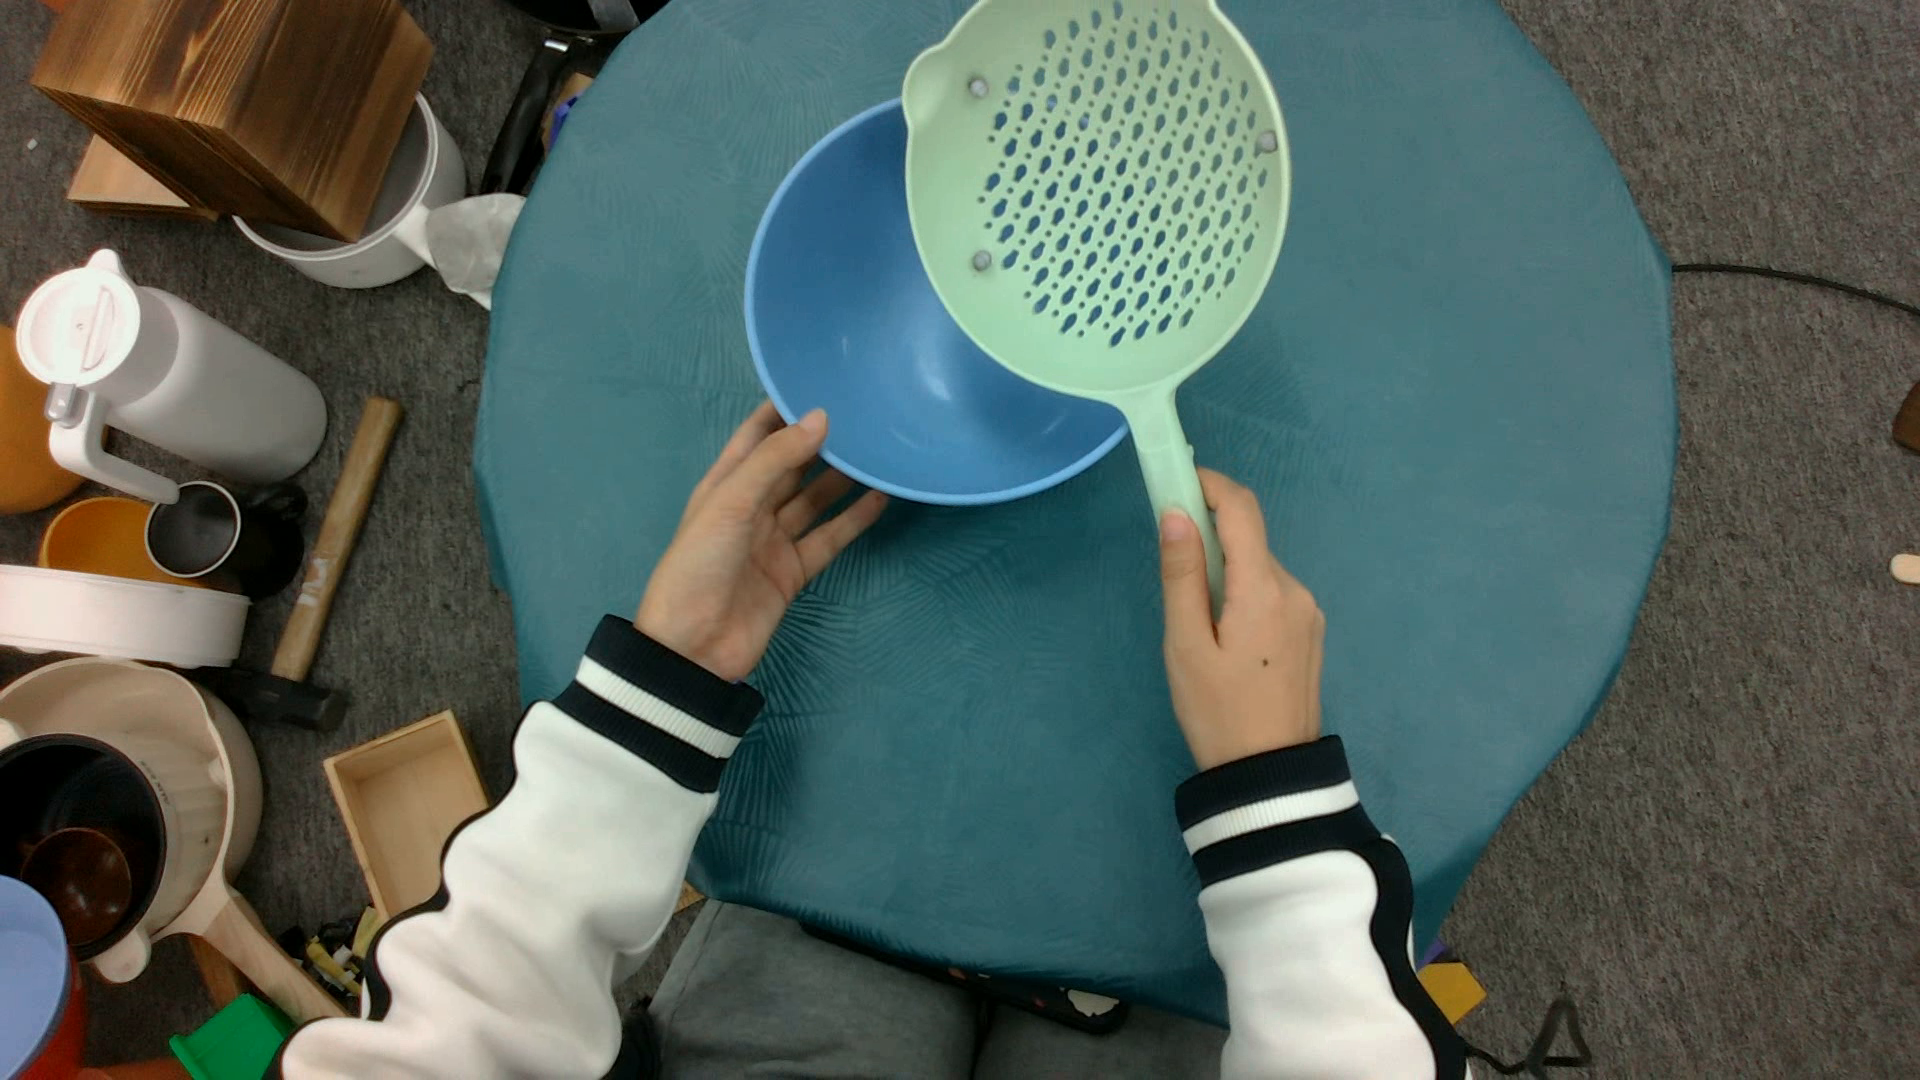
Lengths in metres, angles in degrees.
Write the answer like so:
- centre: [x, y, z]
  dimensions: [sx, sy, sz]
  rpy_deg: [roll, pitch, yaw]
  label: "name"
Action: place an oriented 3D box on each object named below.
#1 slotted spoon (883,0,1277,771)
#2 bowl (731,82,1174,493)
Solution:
- centre: [0.080, -0.058, 0.592]
  dimensions: [0.169, 0.075, 0.358]
  rpy_deg: [-10, 97, 33]
  label: "slotted spoon"
- centre: [-0.002, -0.108, 0.653]
  dimensions: [0.196, 0.095, 0.197]
  rpy_deg: [0, 78, 2]
  label: "bowl"
